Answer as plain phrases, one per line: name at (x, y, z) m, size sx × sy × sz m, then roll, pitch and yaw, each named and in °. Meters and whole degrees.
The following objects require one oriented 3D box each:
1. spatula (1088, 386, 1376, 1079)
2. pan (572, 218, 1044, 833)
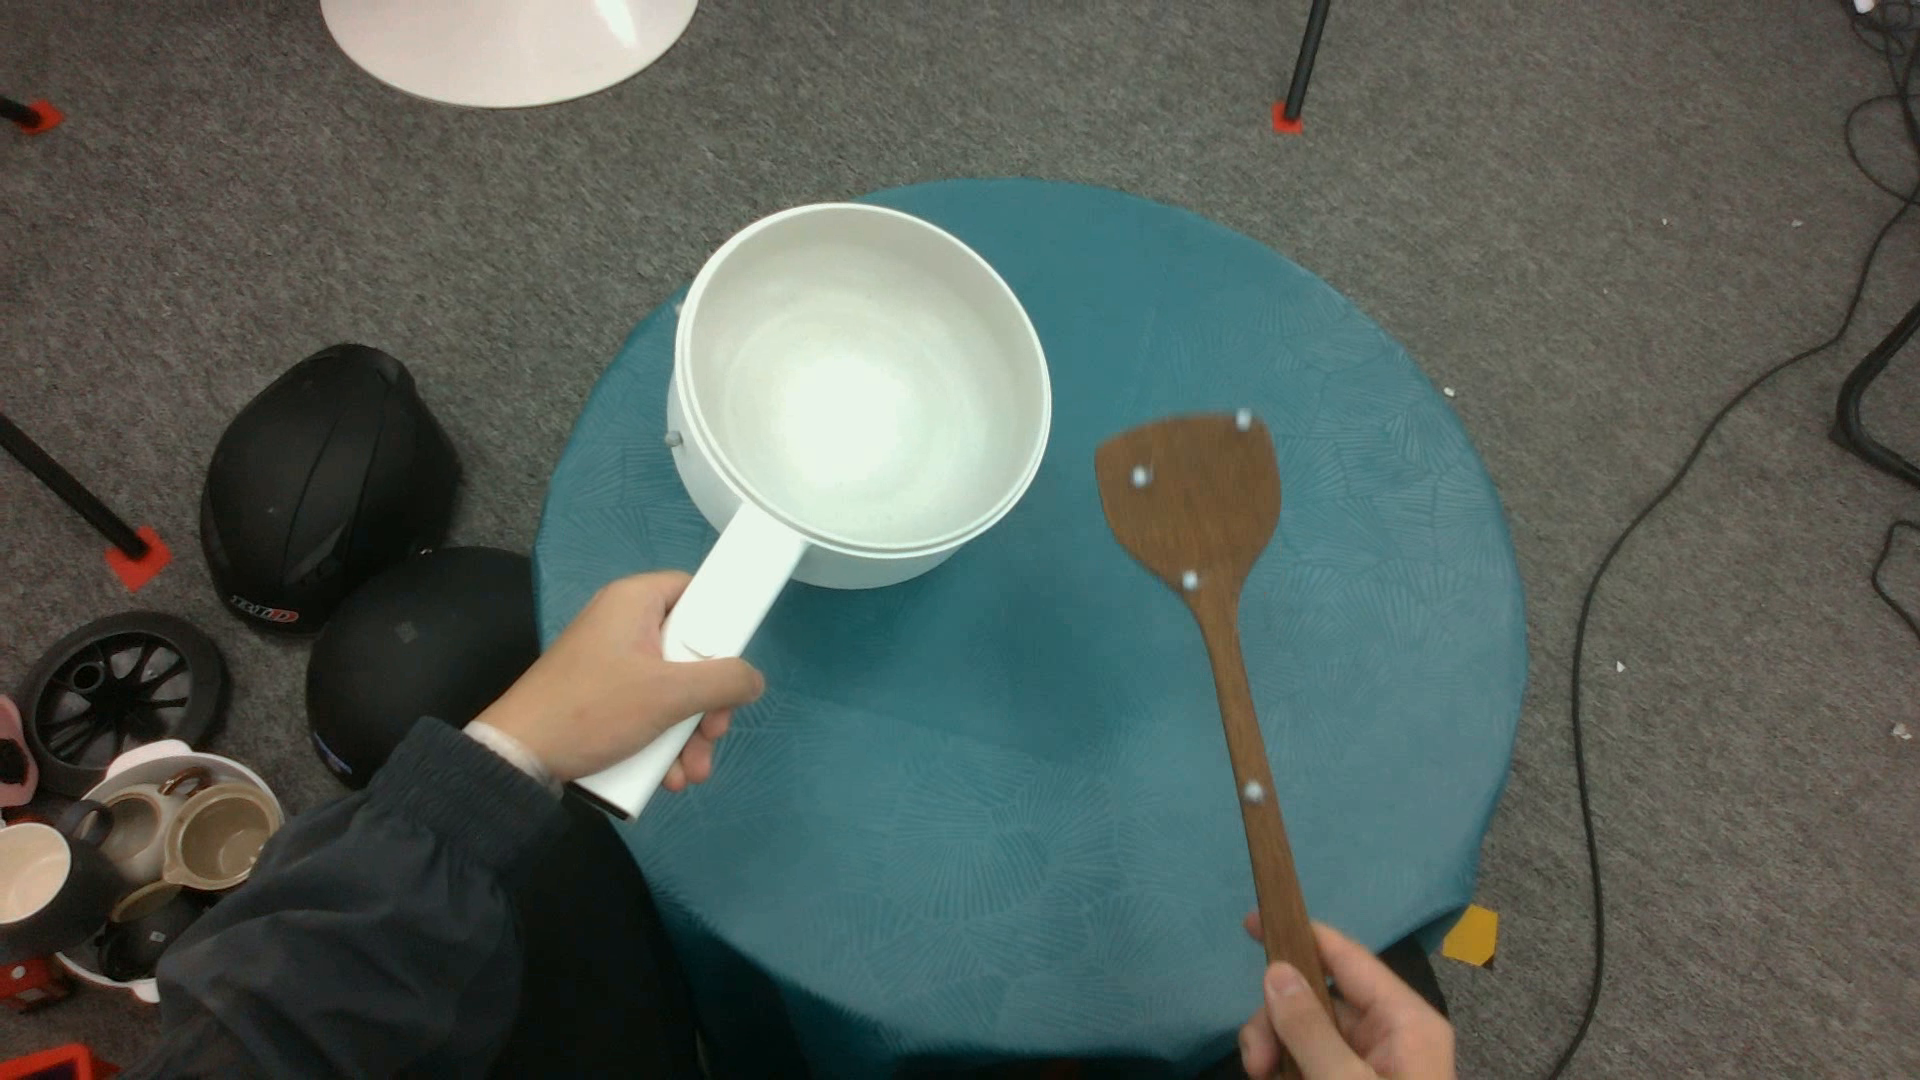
spatula at (0.139, 0.094, 0.653) m, size 0.096 × 0.016 × 0.387 m, roll -13°, pitch 64°, yaw 8°
pan at (-0.095, -0.006, 0.738) m, size 0.201 × 0.101 × 0.356 m, roll 31°, pitch 66°, yaw -7°
